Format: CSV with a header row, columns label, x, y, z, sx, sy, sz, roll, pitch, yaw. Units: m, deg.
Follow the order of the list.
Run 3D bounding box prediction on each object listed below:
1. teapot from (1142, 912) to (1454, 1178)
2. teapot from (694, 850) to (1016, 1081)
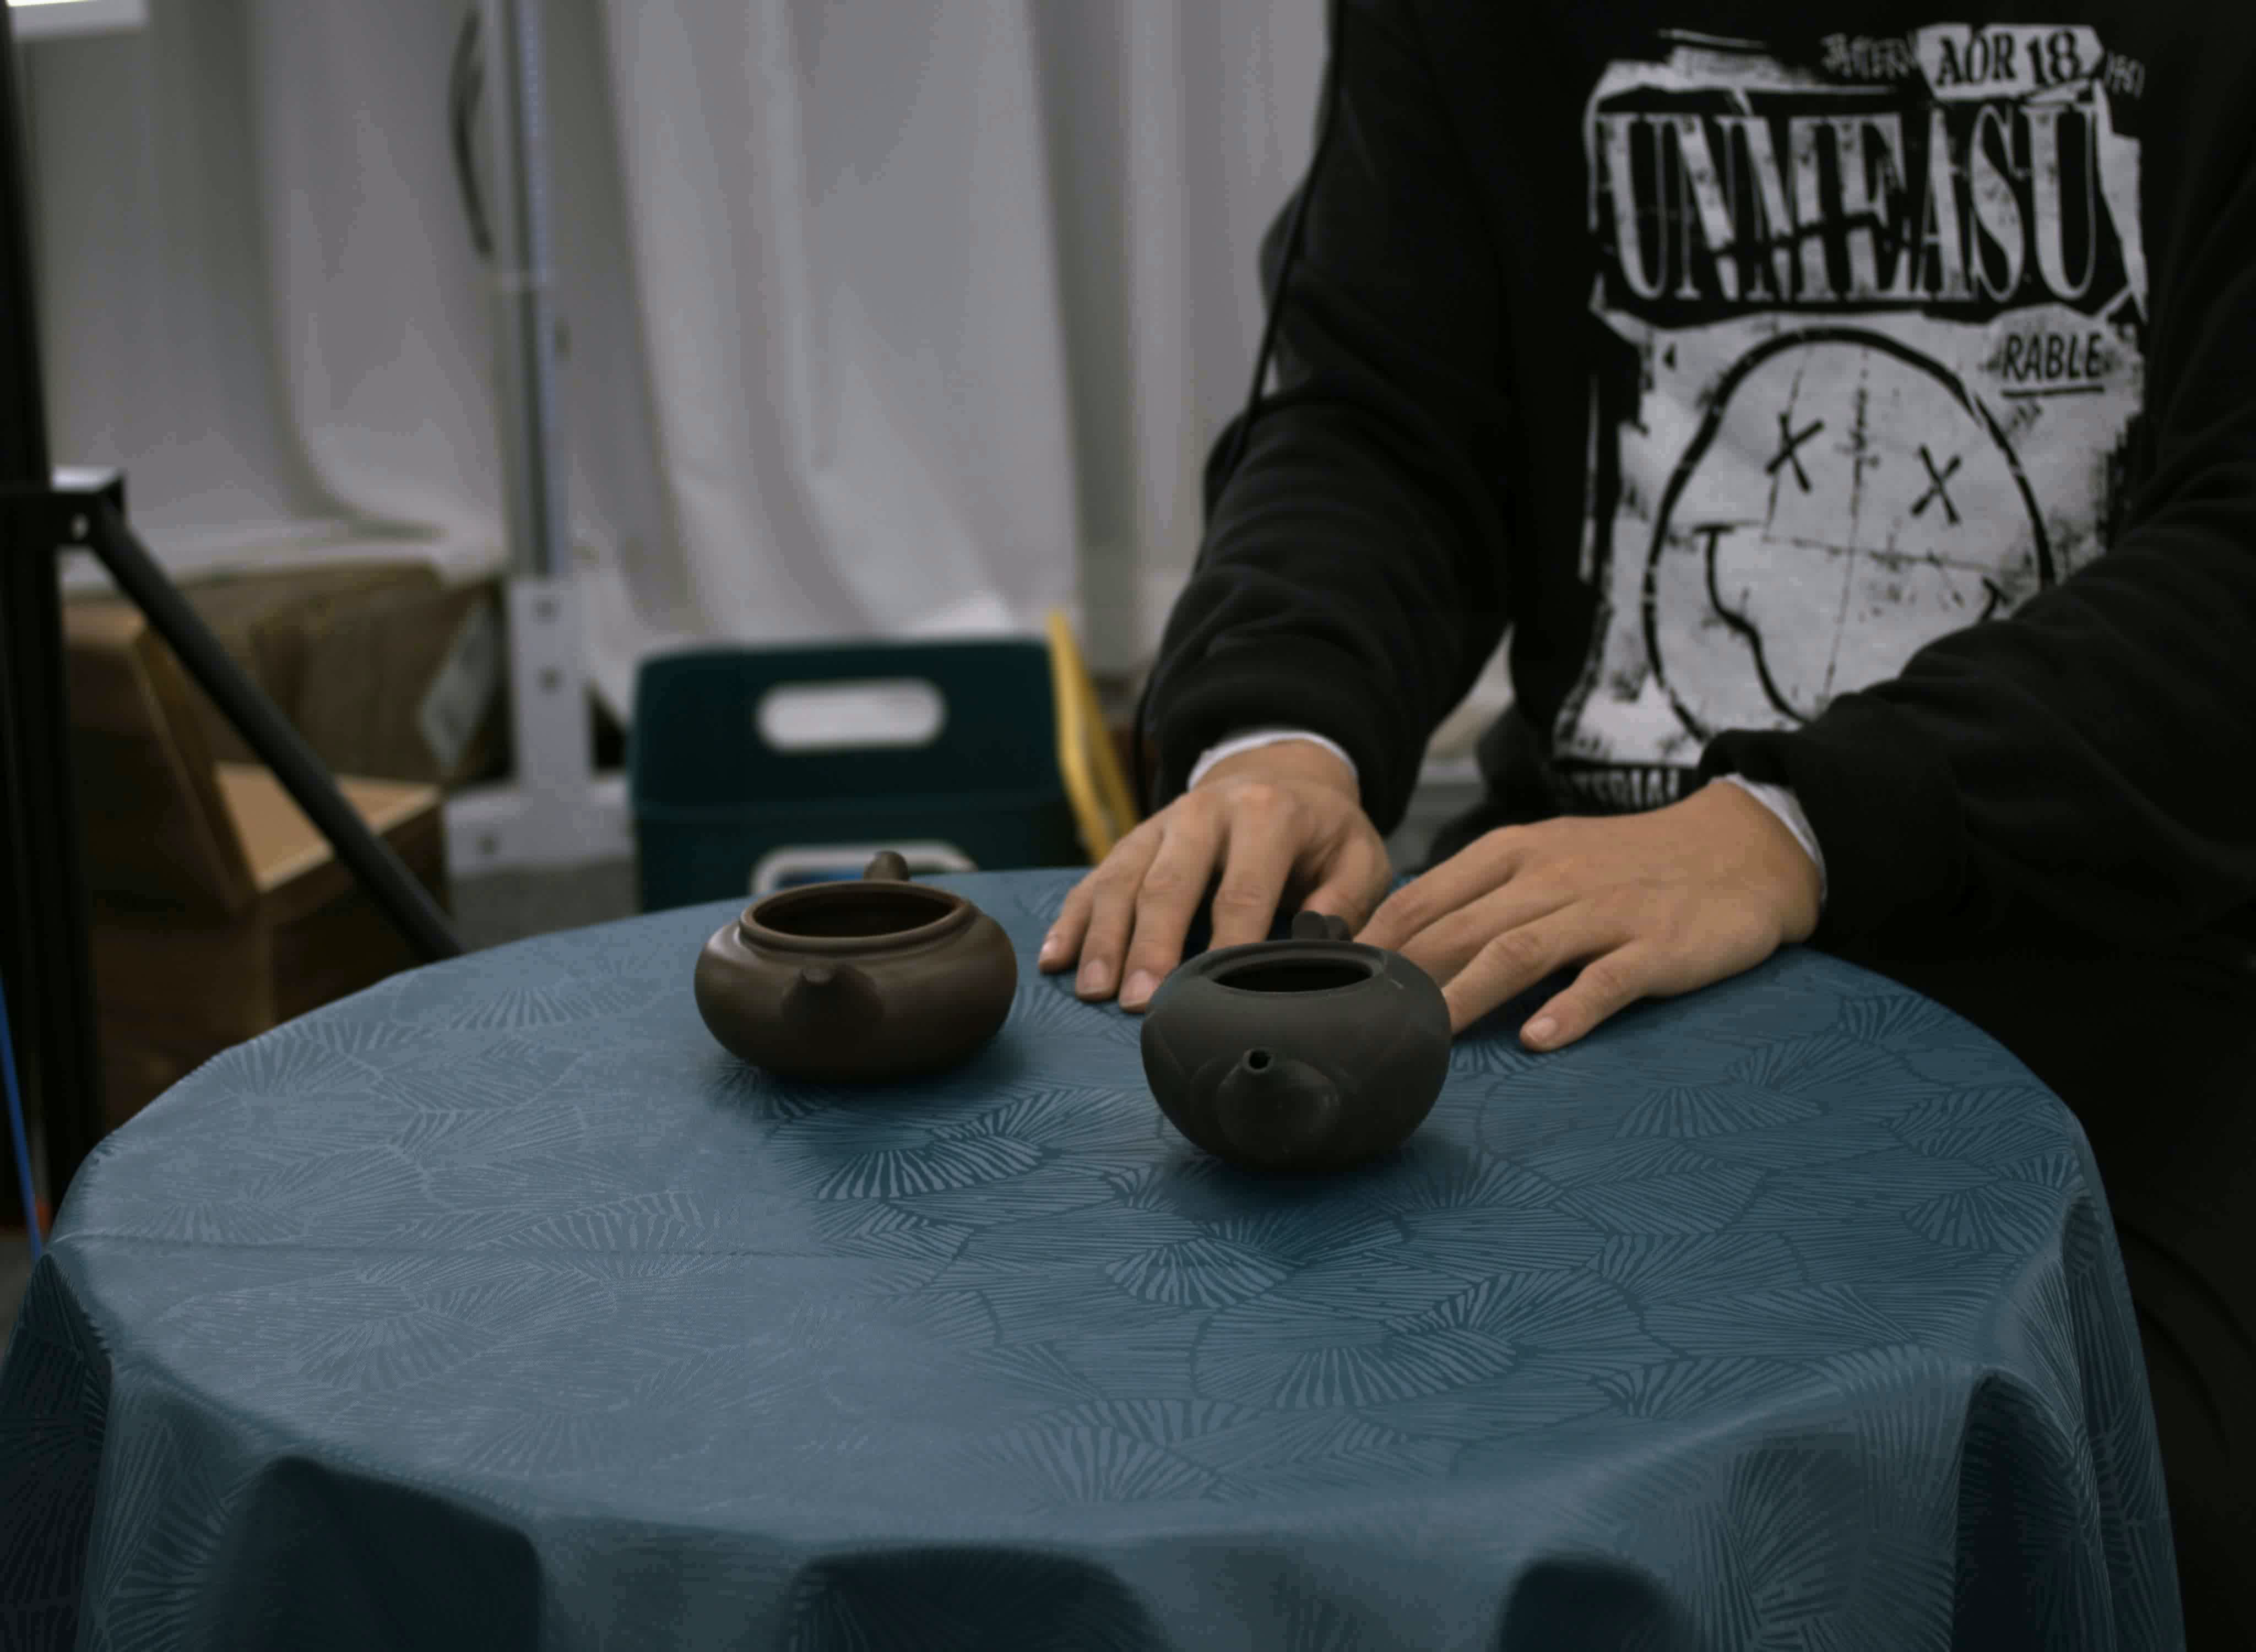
label,x,y,z,sx,sy,sz,roll,pitch,yaw
teapot,0.051,0.066,1.578,0.093,0.064,0.153,3,17,12
teapot,-0.086,0.046,1.691,0.102,0.054,0.154,0,16,1
